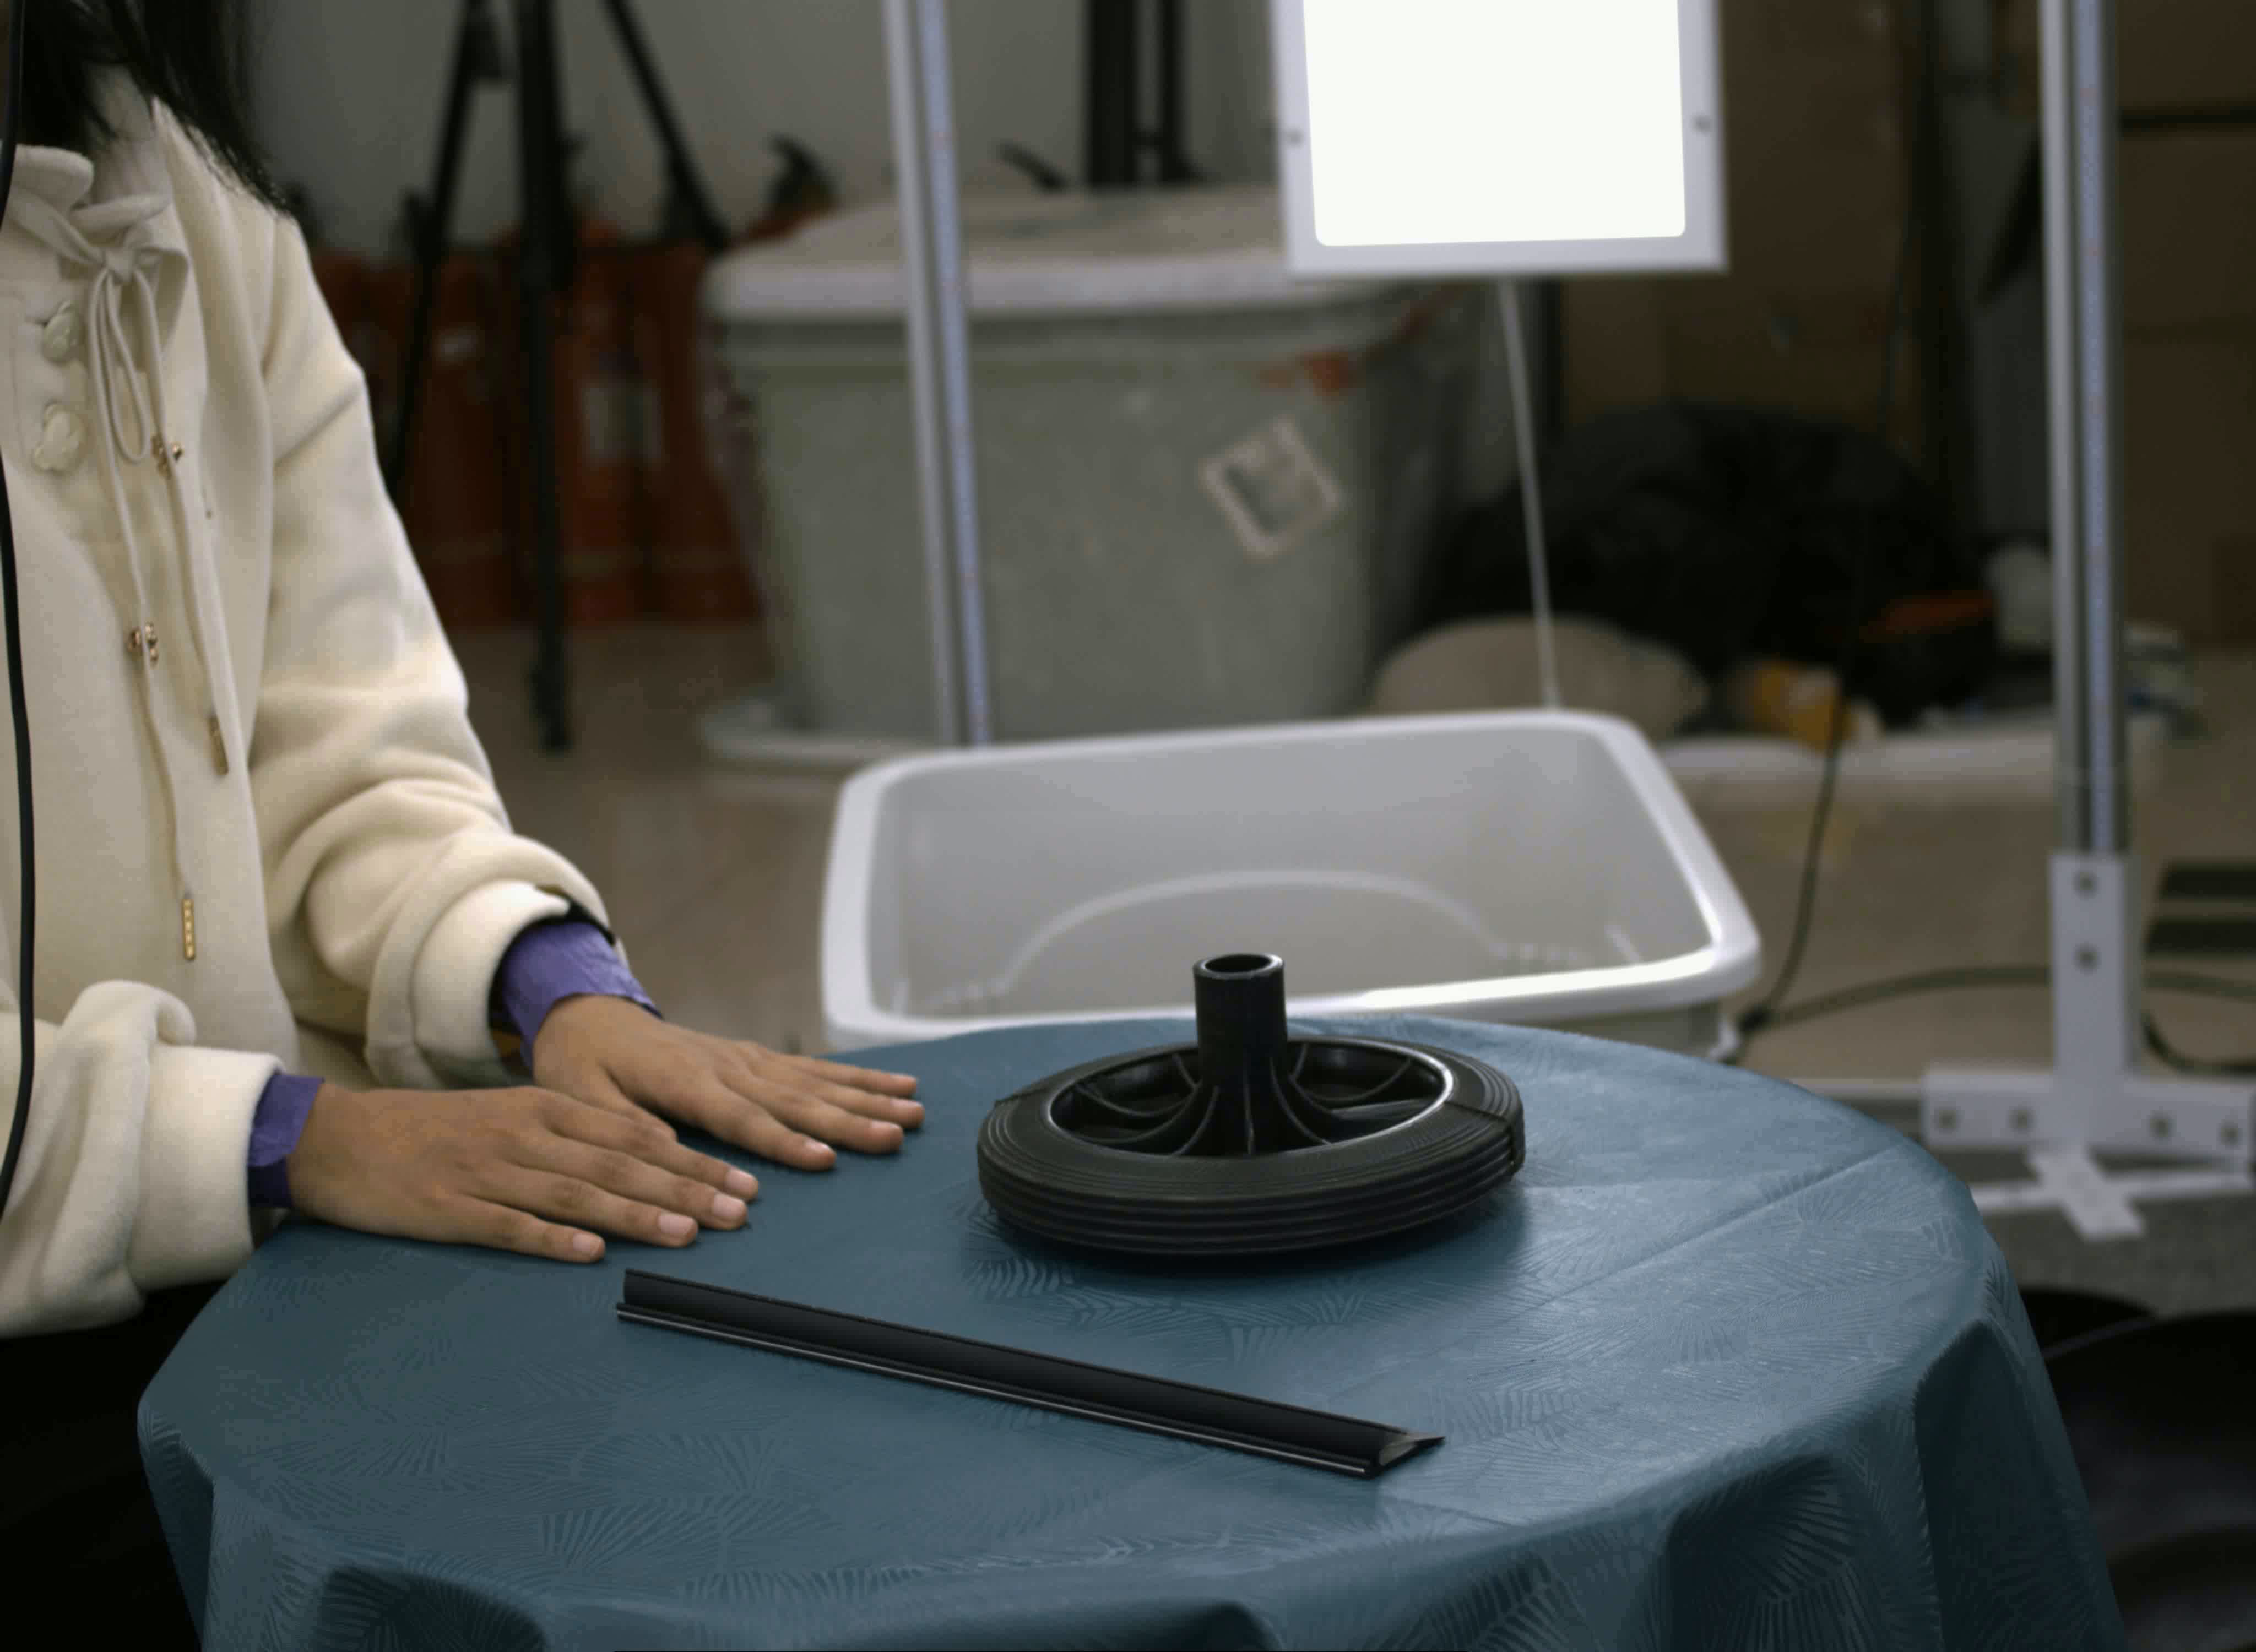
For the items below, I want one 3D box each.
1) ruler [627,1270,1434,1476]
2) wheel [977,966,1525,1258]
[{"bbox_3d":[-0.036,0.165,1.722,0.319,0.017,0.038,7,14,42],"label":"ruler"},{"bbox_3d":[0.041,0.089,1.875,0.185,0.079,0.191,-13,16,-30],"label":"wheel"}]
